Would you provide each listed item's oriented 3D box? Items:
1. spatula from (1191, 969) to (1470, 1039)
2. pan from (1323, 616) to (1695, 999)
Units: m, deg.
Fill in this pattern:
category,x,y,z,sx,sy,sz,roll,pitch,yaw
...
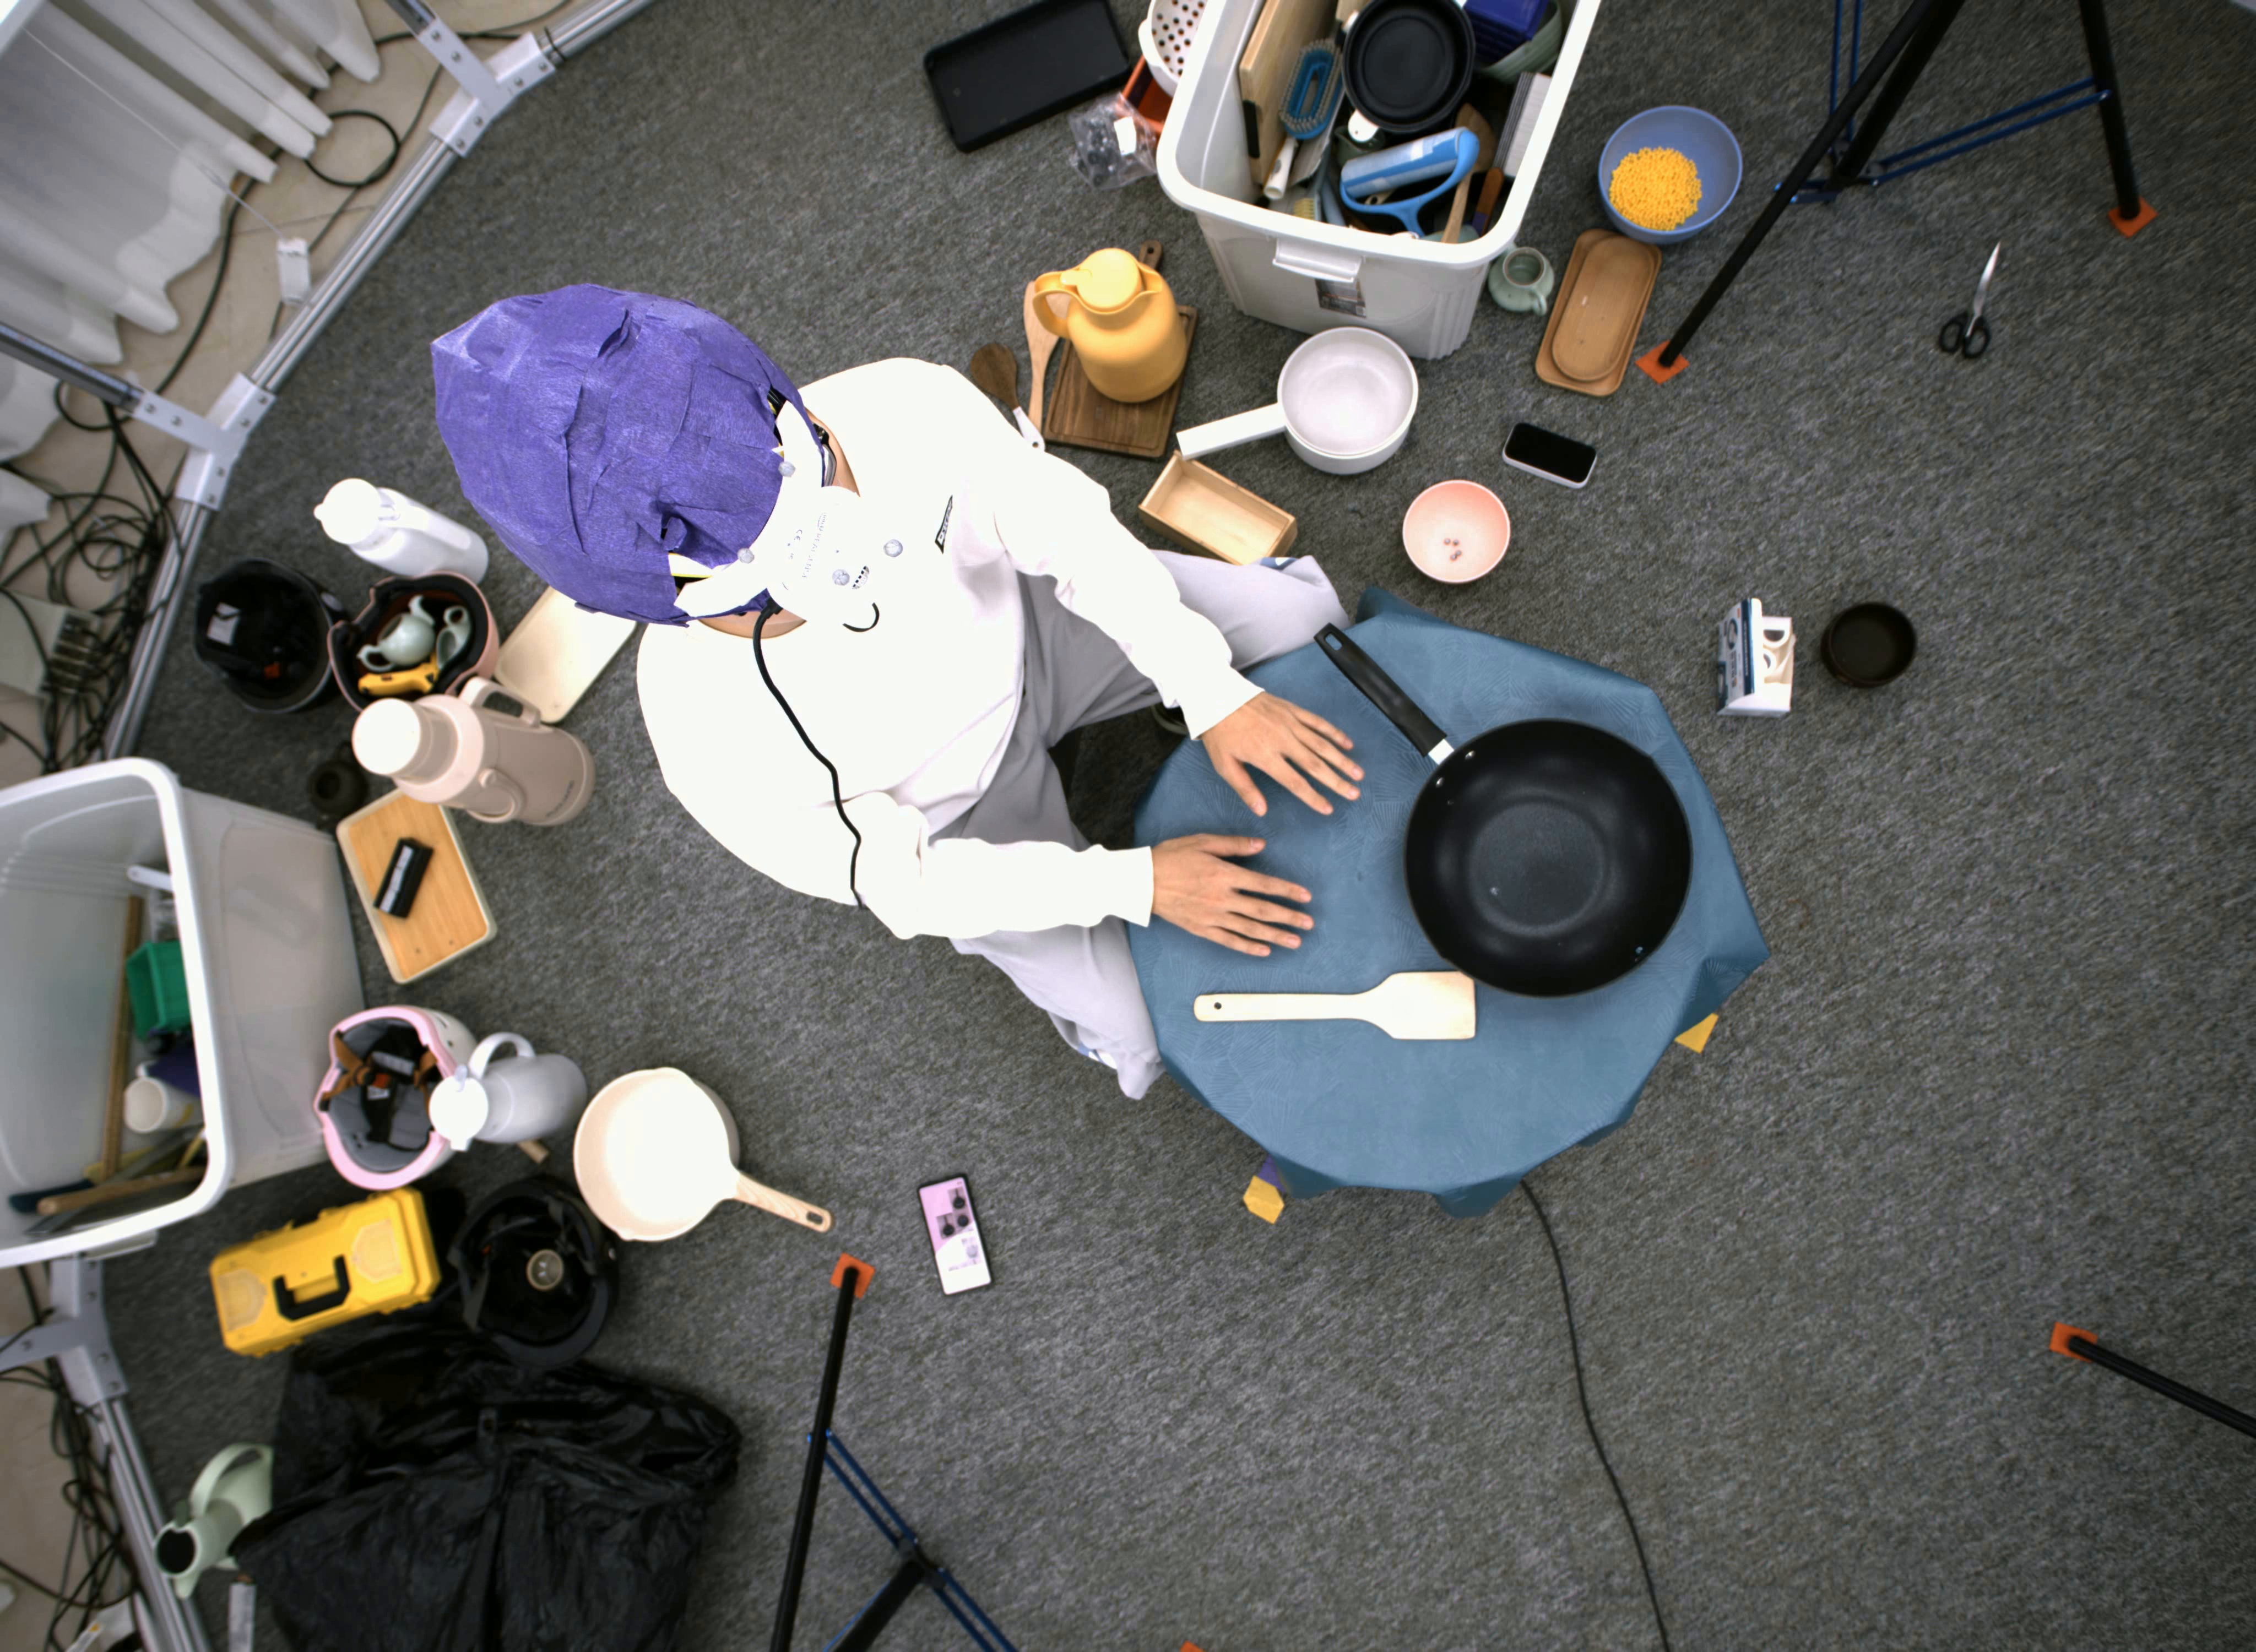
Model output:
category,x,y,z,sx,sy,sz,roll,pitch,yaw
spatula,0.212,0.188,1.460,0.294,0.010,0.072,-2,88,11
pan,0.359,-0.033,1.407,0.289,0.087,0.461,-43,79,5
